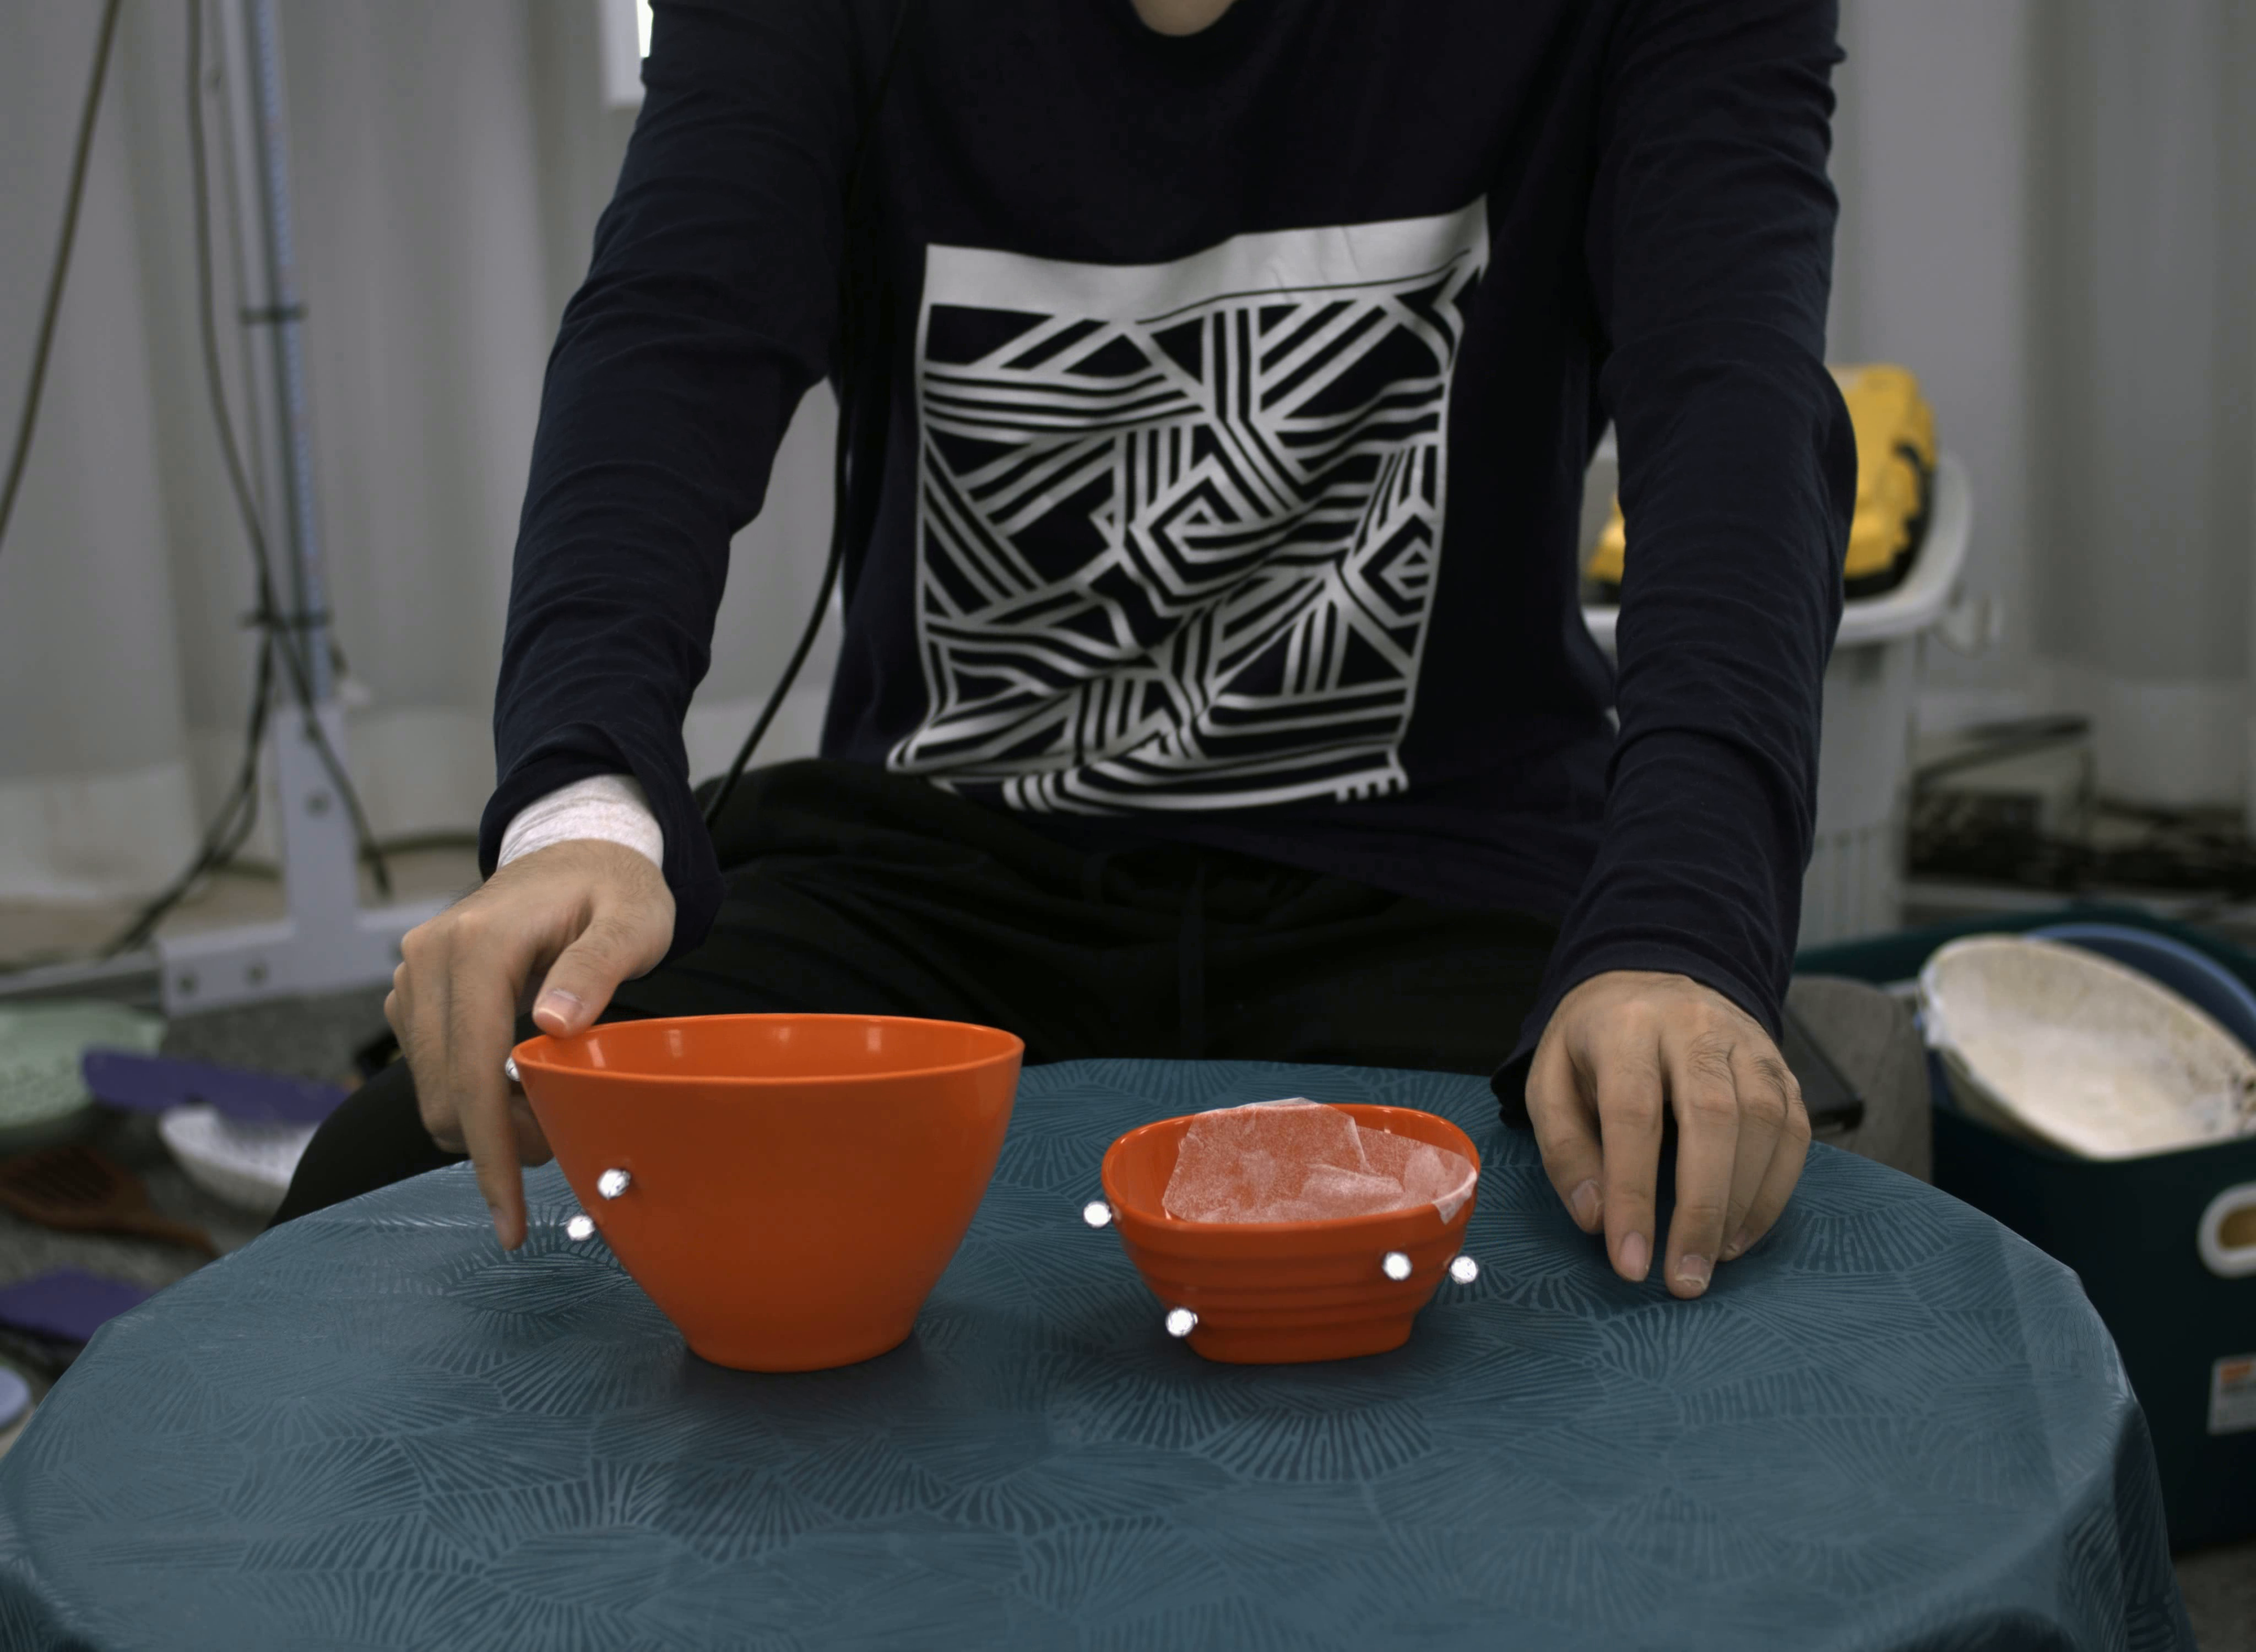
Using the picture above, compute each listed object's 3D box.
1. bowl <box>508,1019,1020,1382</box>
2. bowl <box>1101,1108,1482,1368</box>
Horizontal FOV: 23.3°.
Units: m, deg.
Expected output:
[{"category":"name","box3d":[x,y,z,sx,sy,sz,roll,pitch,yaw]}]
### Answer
[{"category":"bowl","box3d":[-0.102,0.105,1.583,0.147,0.104,0.149,-3,13,0]},{"category":"bowl","box3d":[0.049,0.122,1.588,0.118,0.051,0.119,-4,13,1]}]
